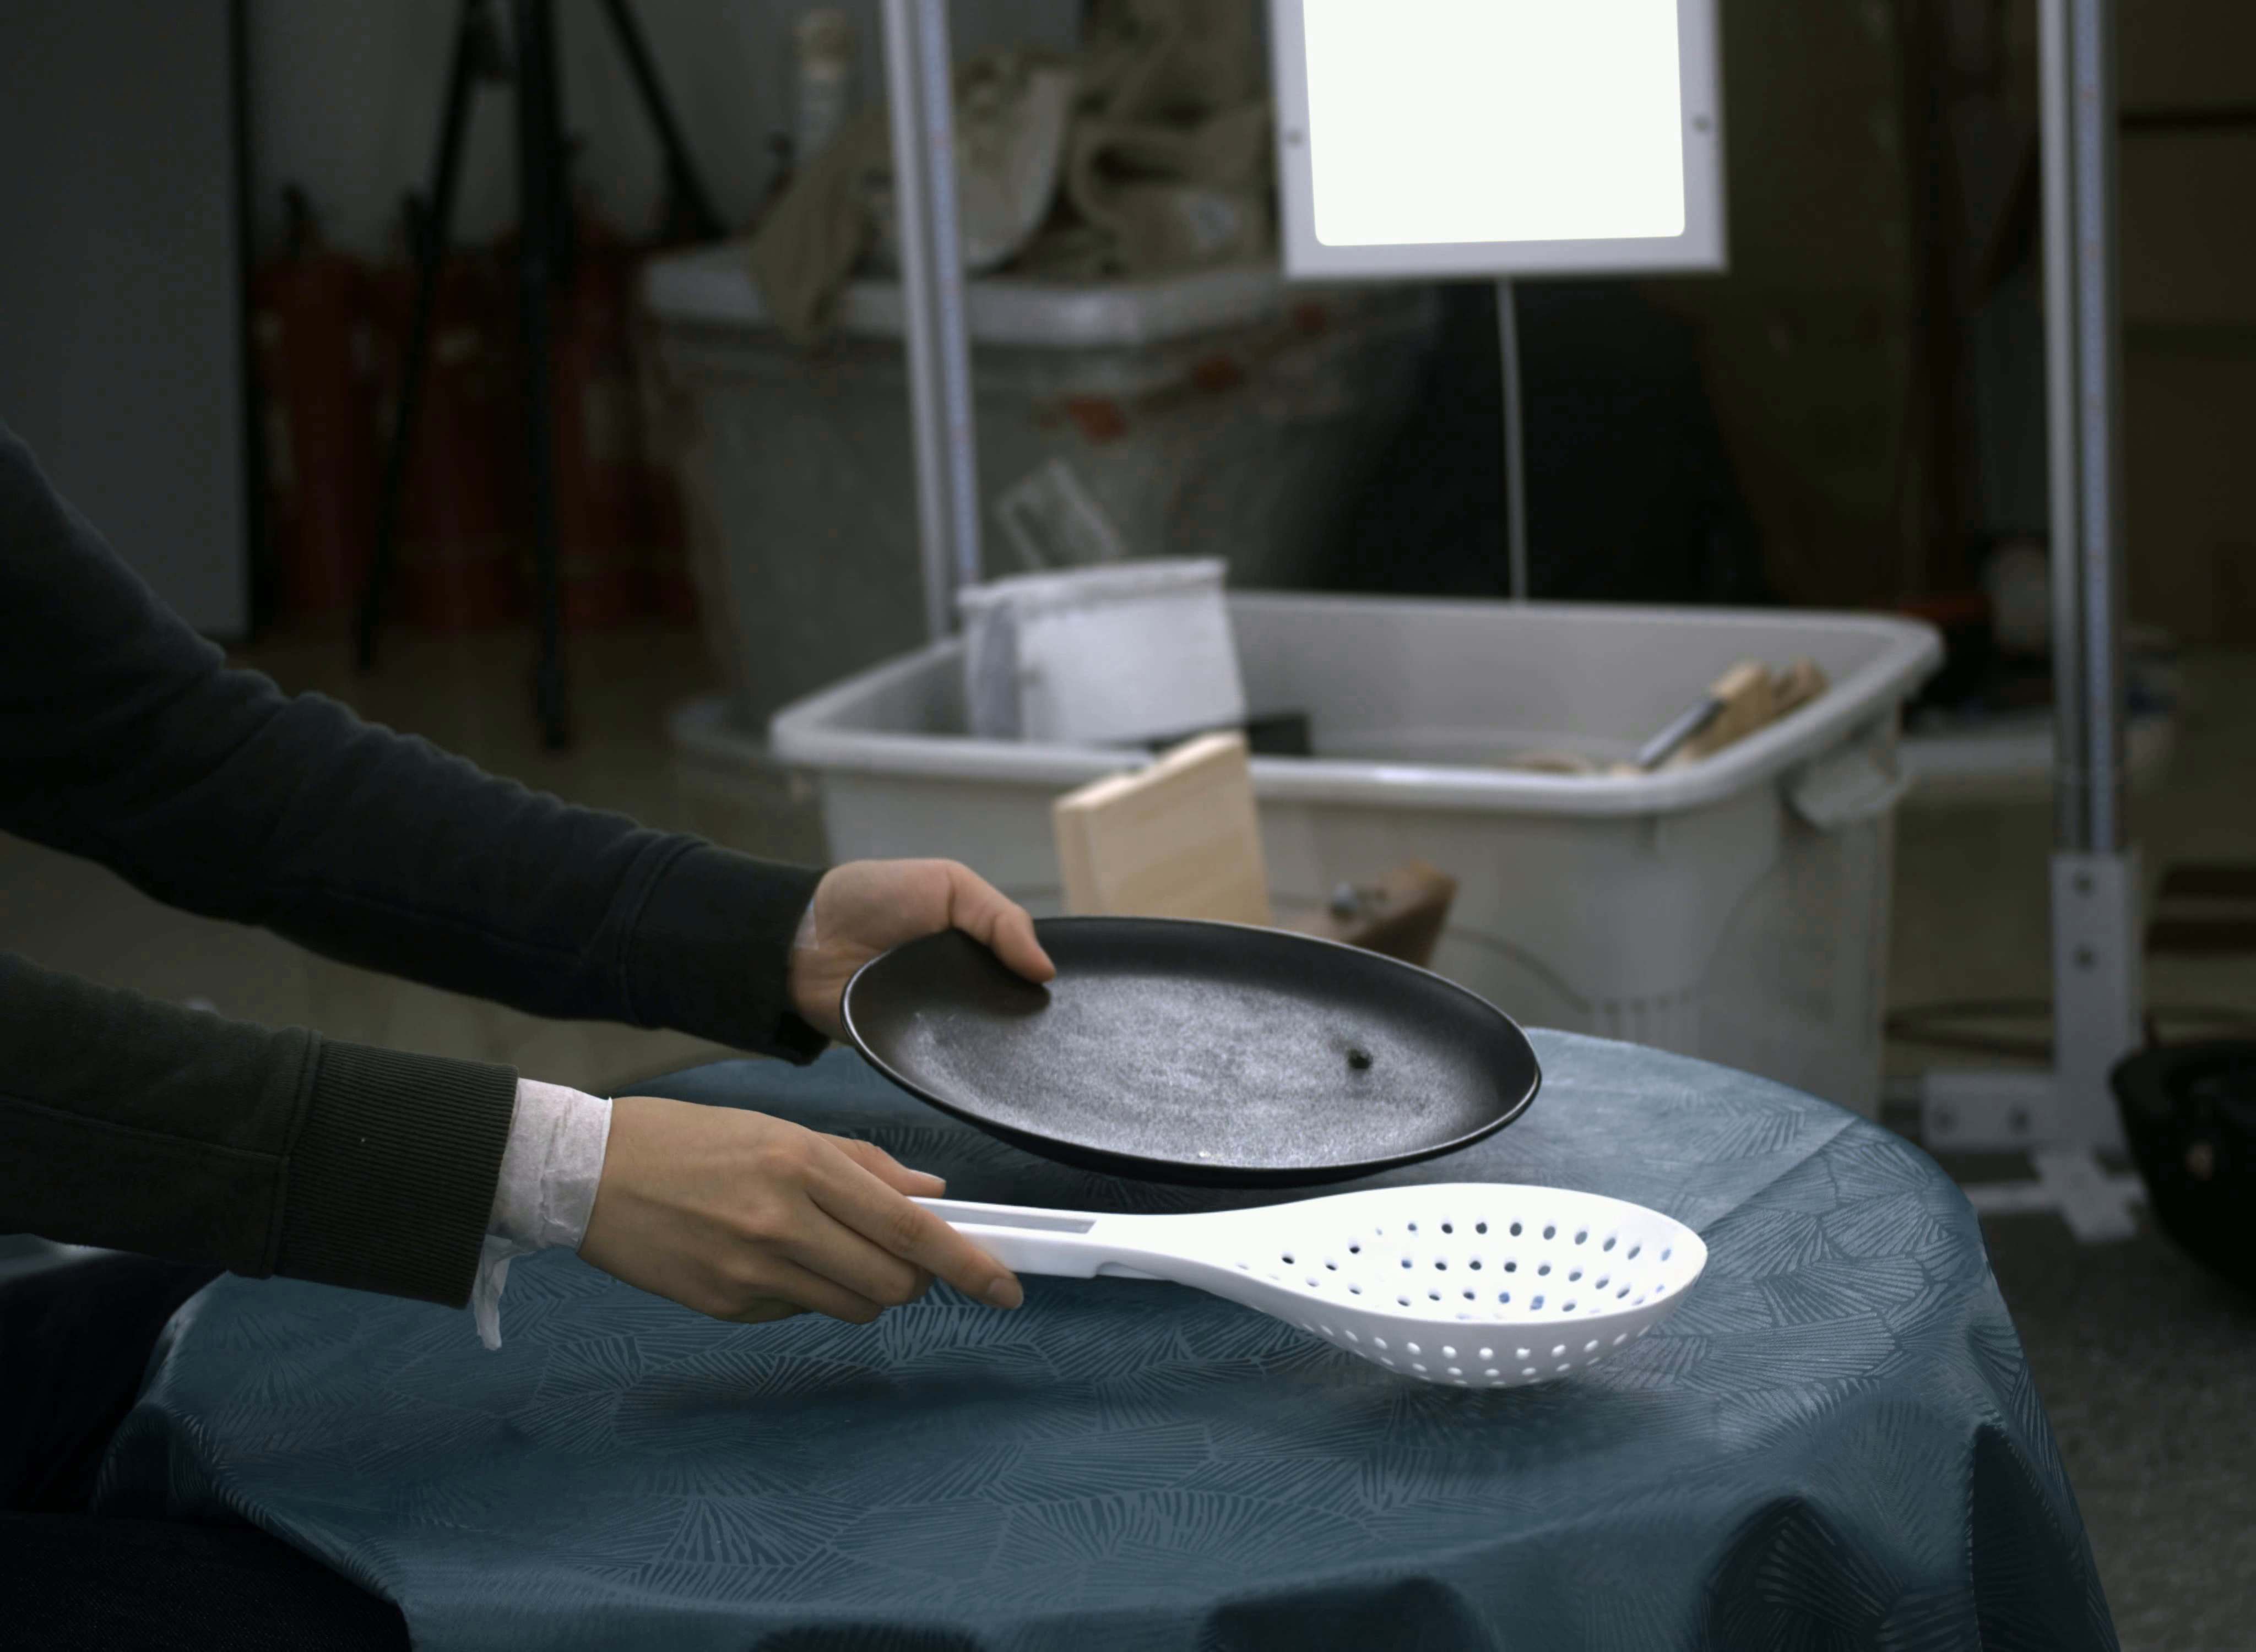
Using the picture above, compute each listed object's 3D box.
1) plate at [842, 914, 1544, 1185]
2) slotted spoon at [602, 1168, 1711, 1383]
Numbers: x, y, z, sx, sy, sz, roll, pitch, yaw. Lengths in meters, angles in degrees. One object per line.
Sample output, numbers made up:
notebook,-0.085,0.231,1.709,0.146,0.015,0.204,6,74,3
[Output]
plate,0.022,0.080,1.890,0.243,0.023,0.244,4,18,-3
slotted spoon,0.005,0.129,1.704,0.353,0.046,0.134,8,14,15
